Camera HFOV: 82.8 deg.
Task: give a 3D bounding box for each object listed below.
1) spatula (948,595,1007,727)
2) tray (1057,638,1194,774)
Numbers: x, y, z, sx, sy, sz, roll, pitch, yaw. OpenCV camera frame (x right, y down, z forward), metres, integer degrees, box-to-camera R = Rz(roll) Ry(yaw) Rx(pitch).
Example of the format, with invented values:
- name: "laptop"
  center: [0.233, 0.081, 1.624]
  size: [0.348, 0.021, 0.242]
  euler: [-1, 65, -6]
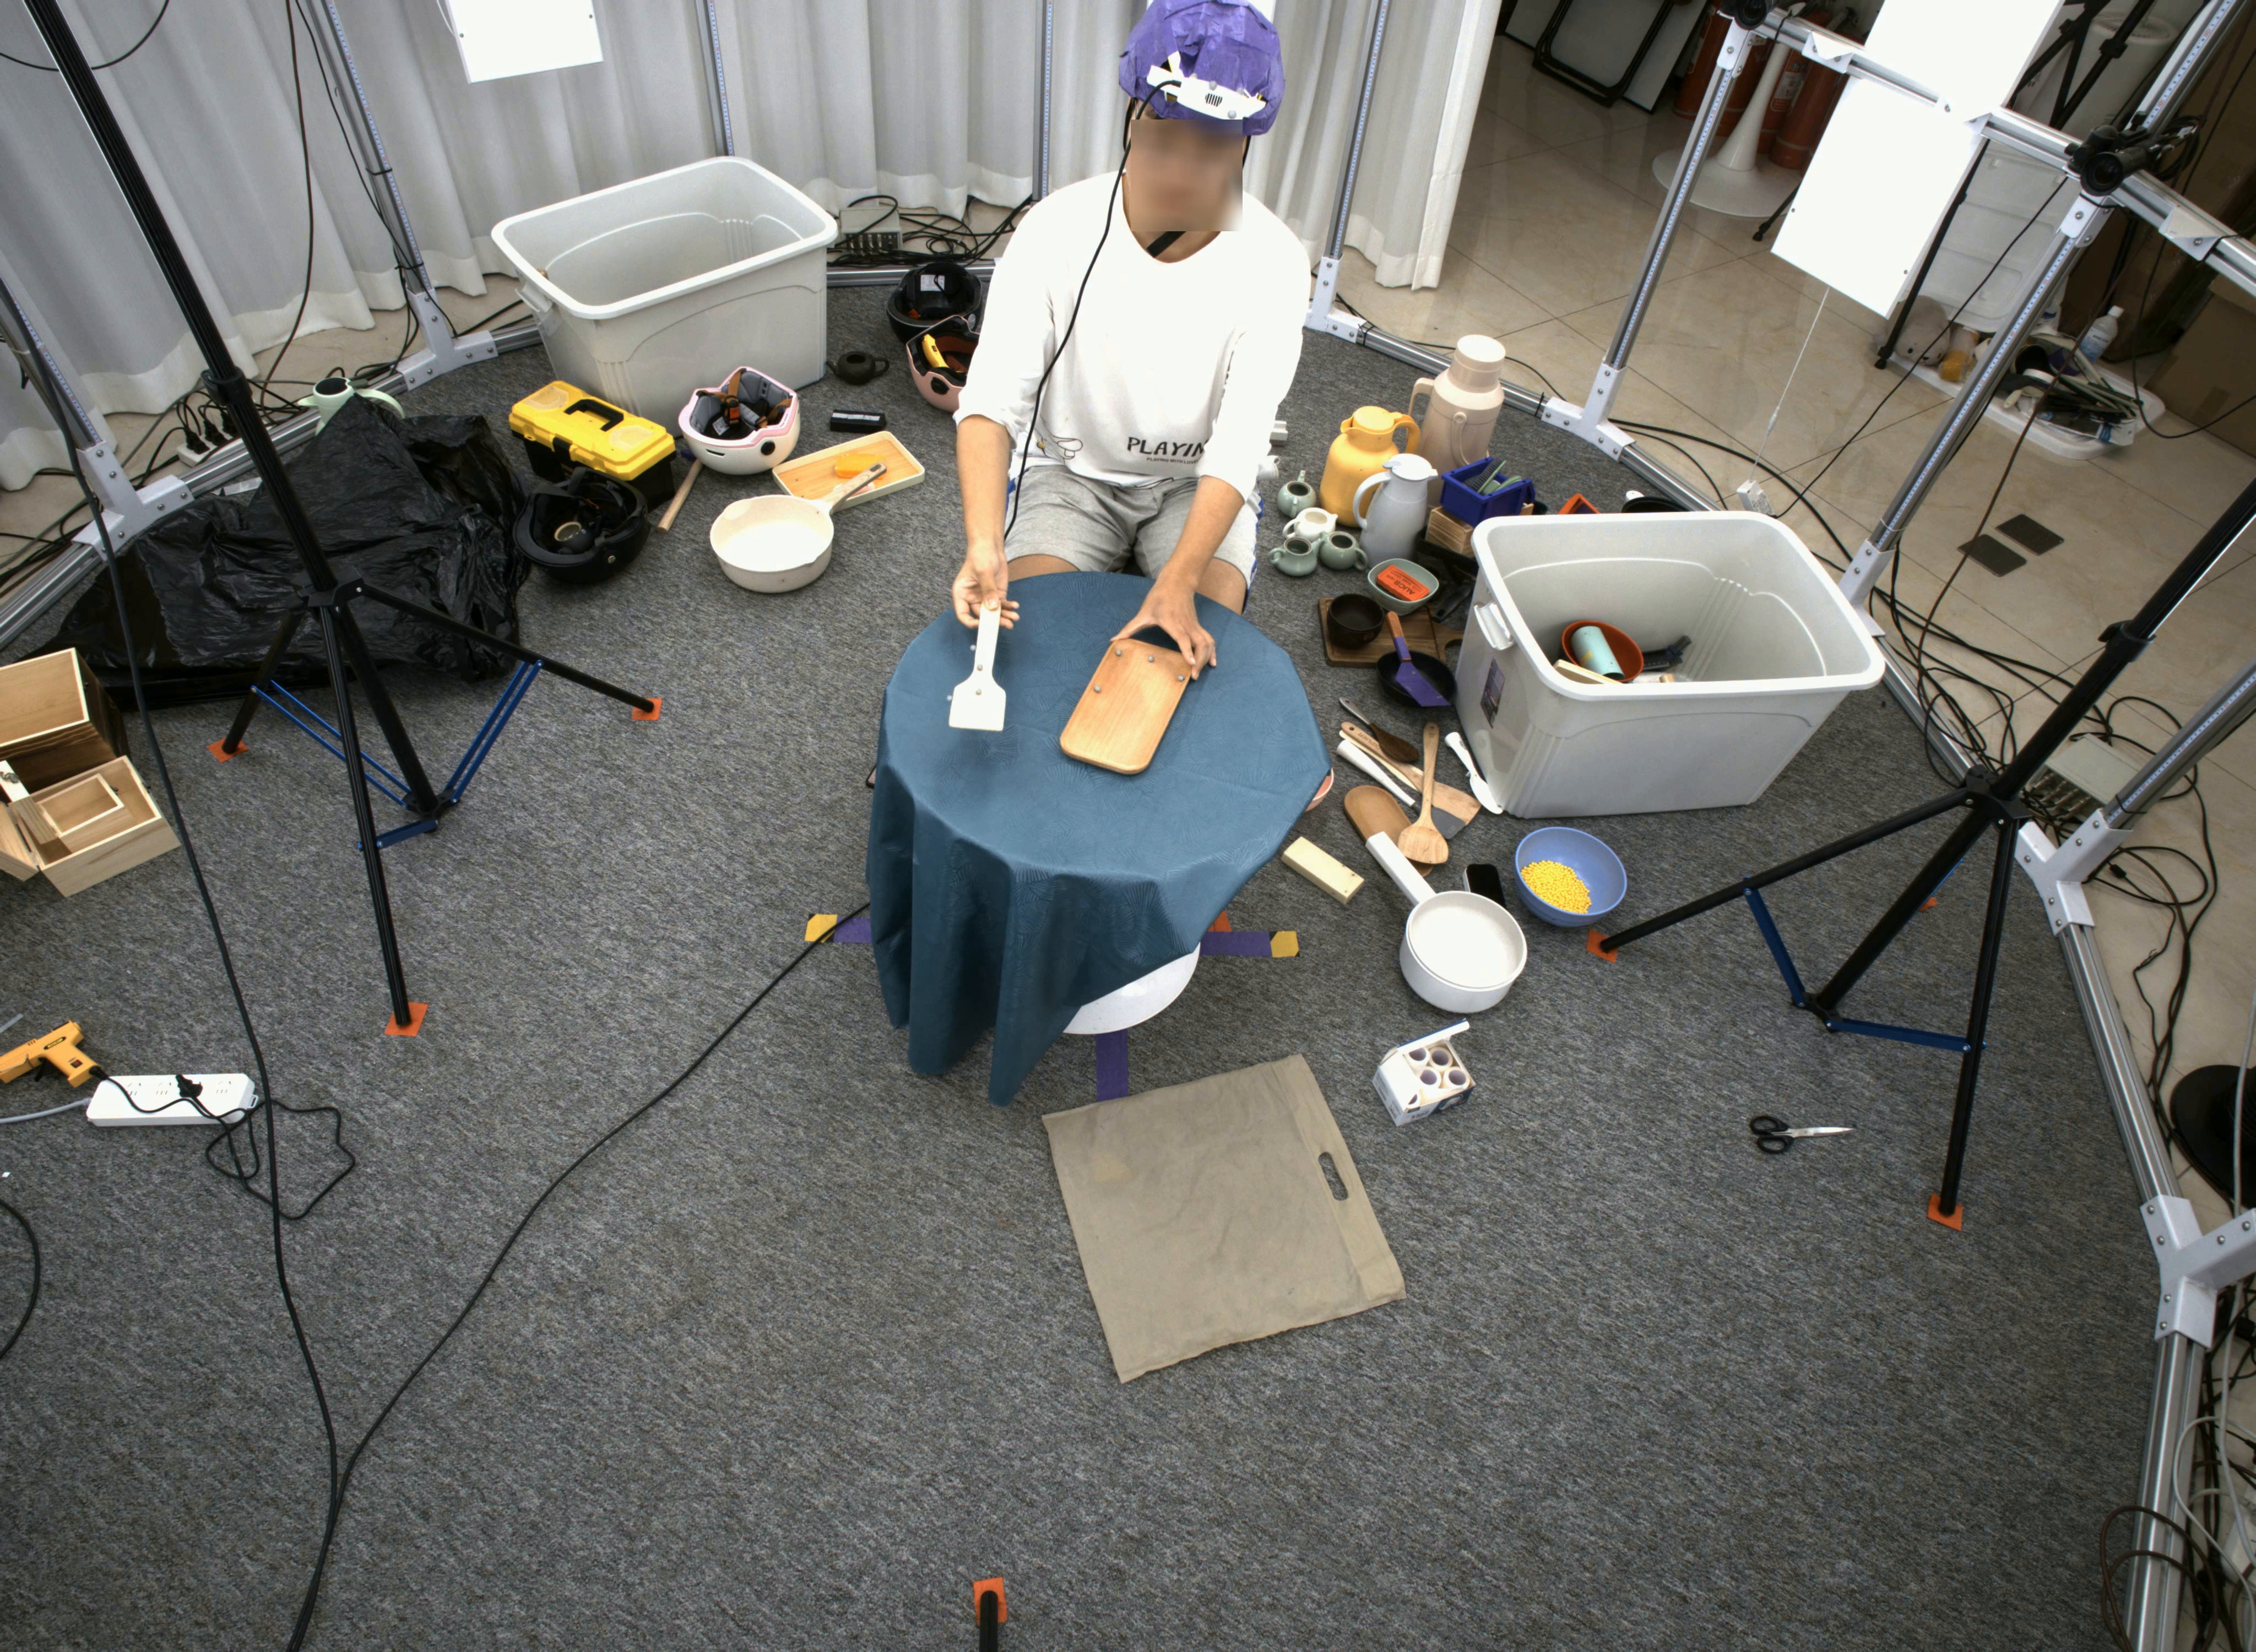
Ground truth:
- name: "spatula"
  center: [-0.196, -0.230, 1.751]
  size: [0.072, 0.010, 0.300]
  euler: [4, 43, -3]
- name: "tray"
  center: [-0.001, -0.172, 1.803]
  size: [0.131, 0.022, 0.255]
  euler: [17, 50, 14]
